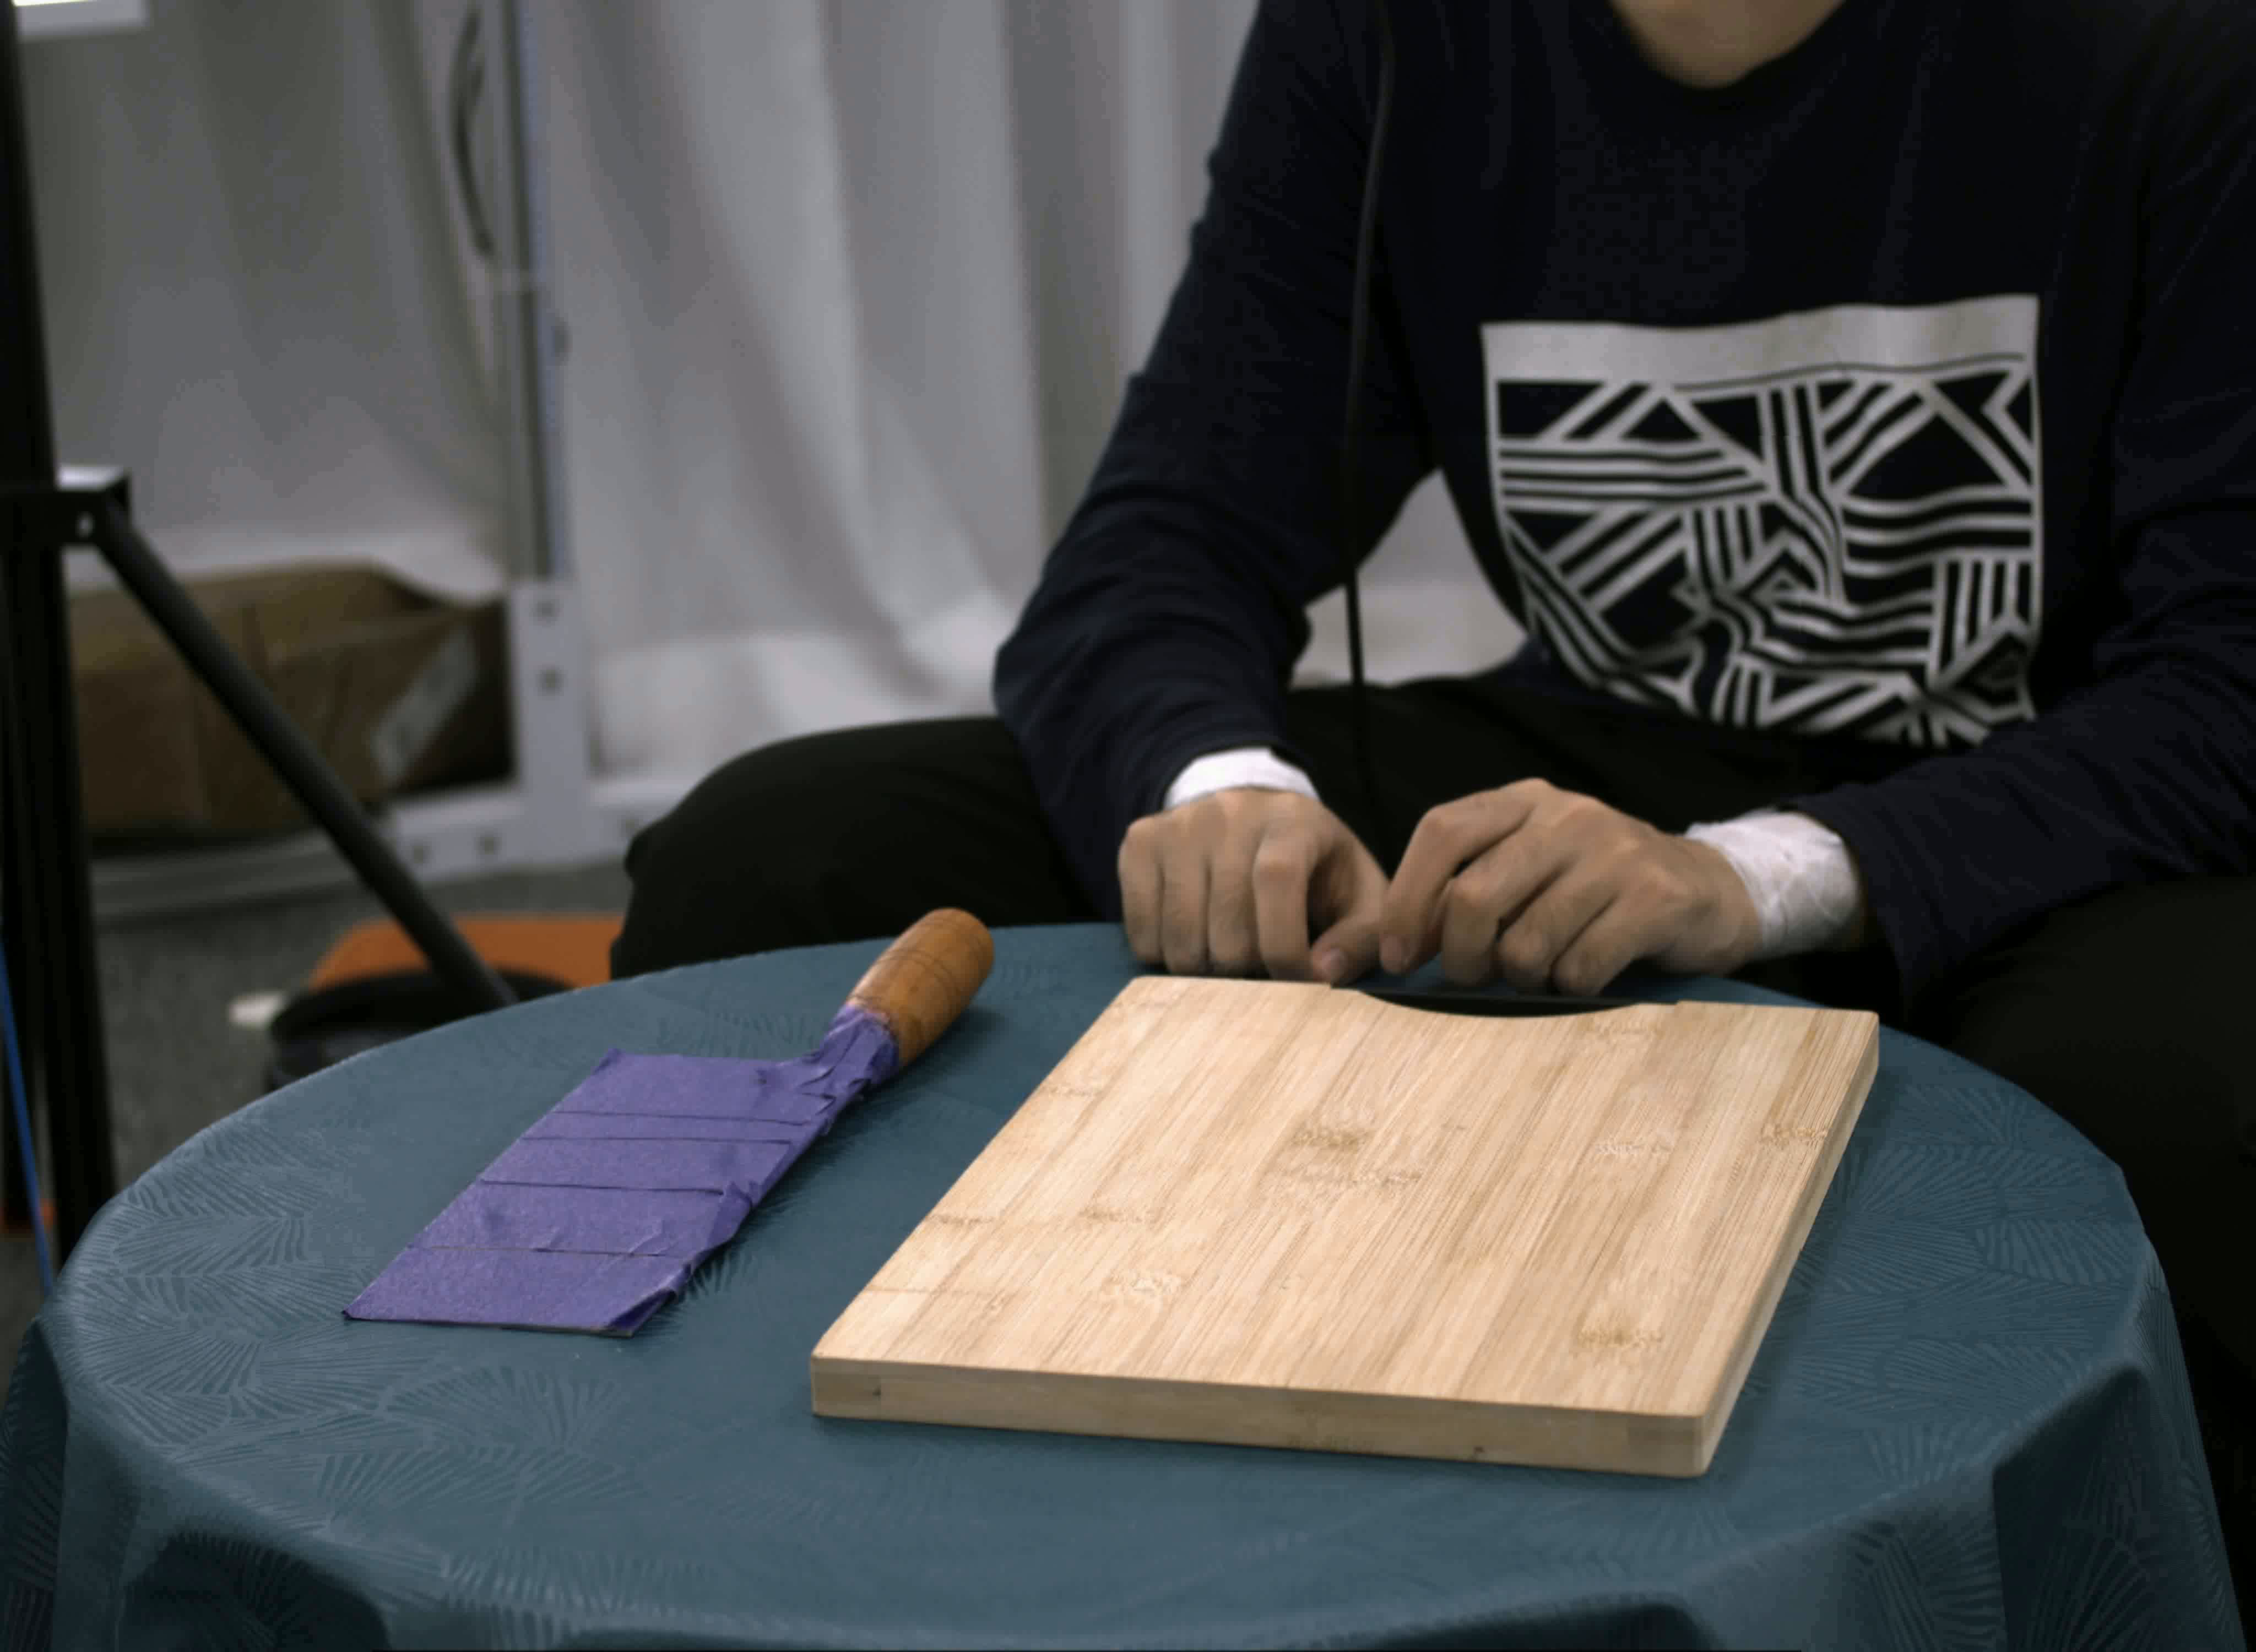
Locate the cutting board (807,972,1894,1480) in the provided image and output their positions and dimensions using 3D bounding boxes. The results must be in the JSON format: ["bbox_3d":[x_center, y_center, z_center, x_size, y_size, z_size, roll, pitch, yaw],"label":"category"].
[{"bbox_3d":[0.076,0.107,1.525,0.253,0.023,0.346,2,16,15],"label":"cutting board"}]

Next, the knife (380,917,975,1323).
[{"bbox_3d":[-0.133,0.085,1.613,0.105,0.032,0.312,3,17,16],"label":"knife"}]
